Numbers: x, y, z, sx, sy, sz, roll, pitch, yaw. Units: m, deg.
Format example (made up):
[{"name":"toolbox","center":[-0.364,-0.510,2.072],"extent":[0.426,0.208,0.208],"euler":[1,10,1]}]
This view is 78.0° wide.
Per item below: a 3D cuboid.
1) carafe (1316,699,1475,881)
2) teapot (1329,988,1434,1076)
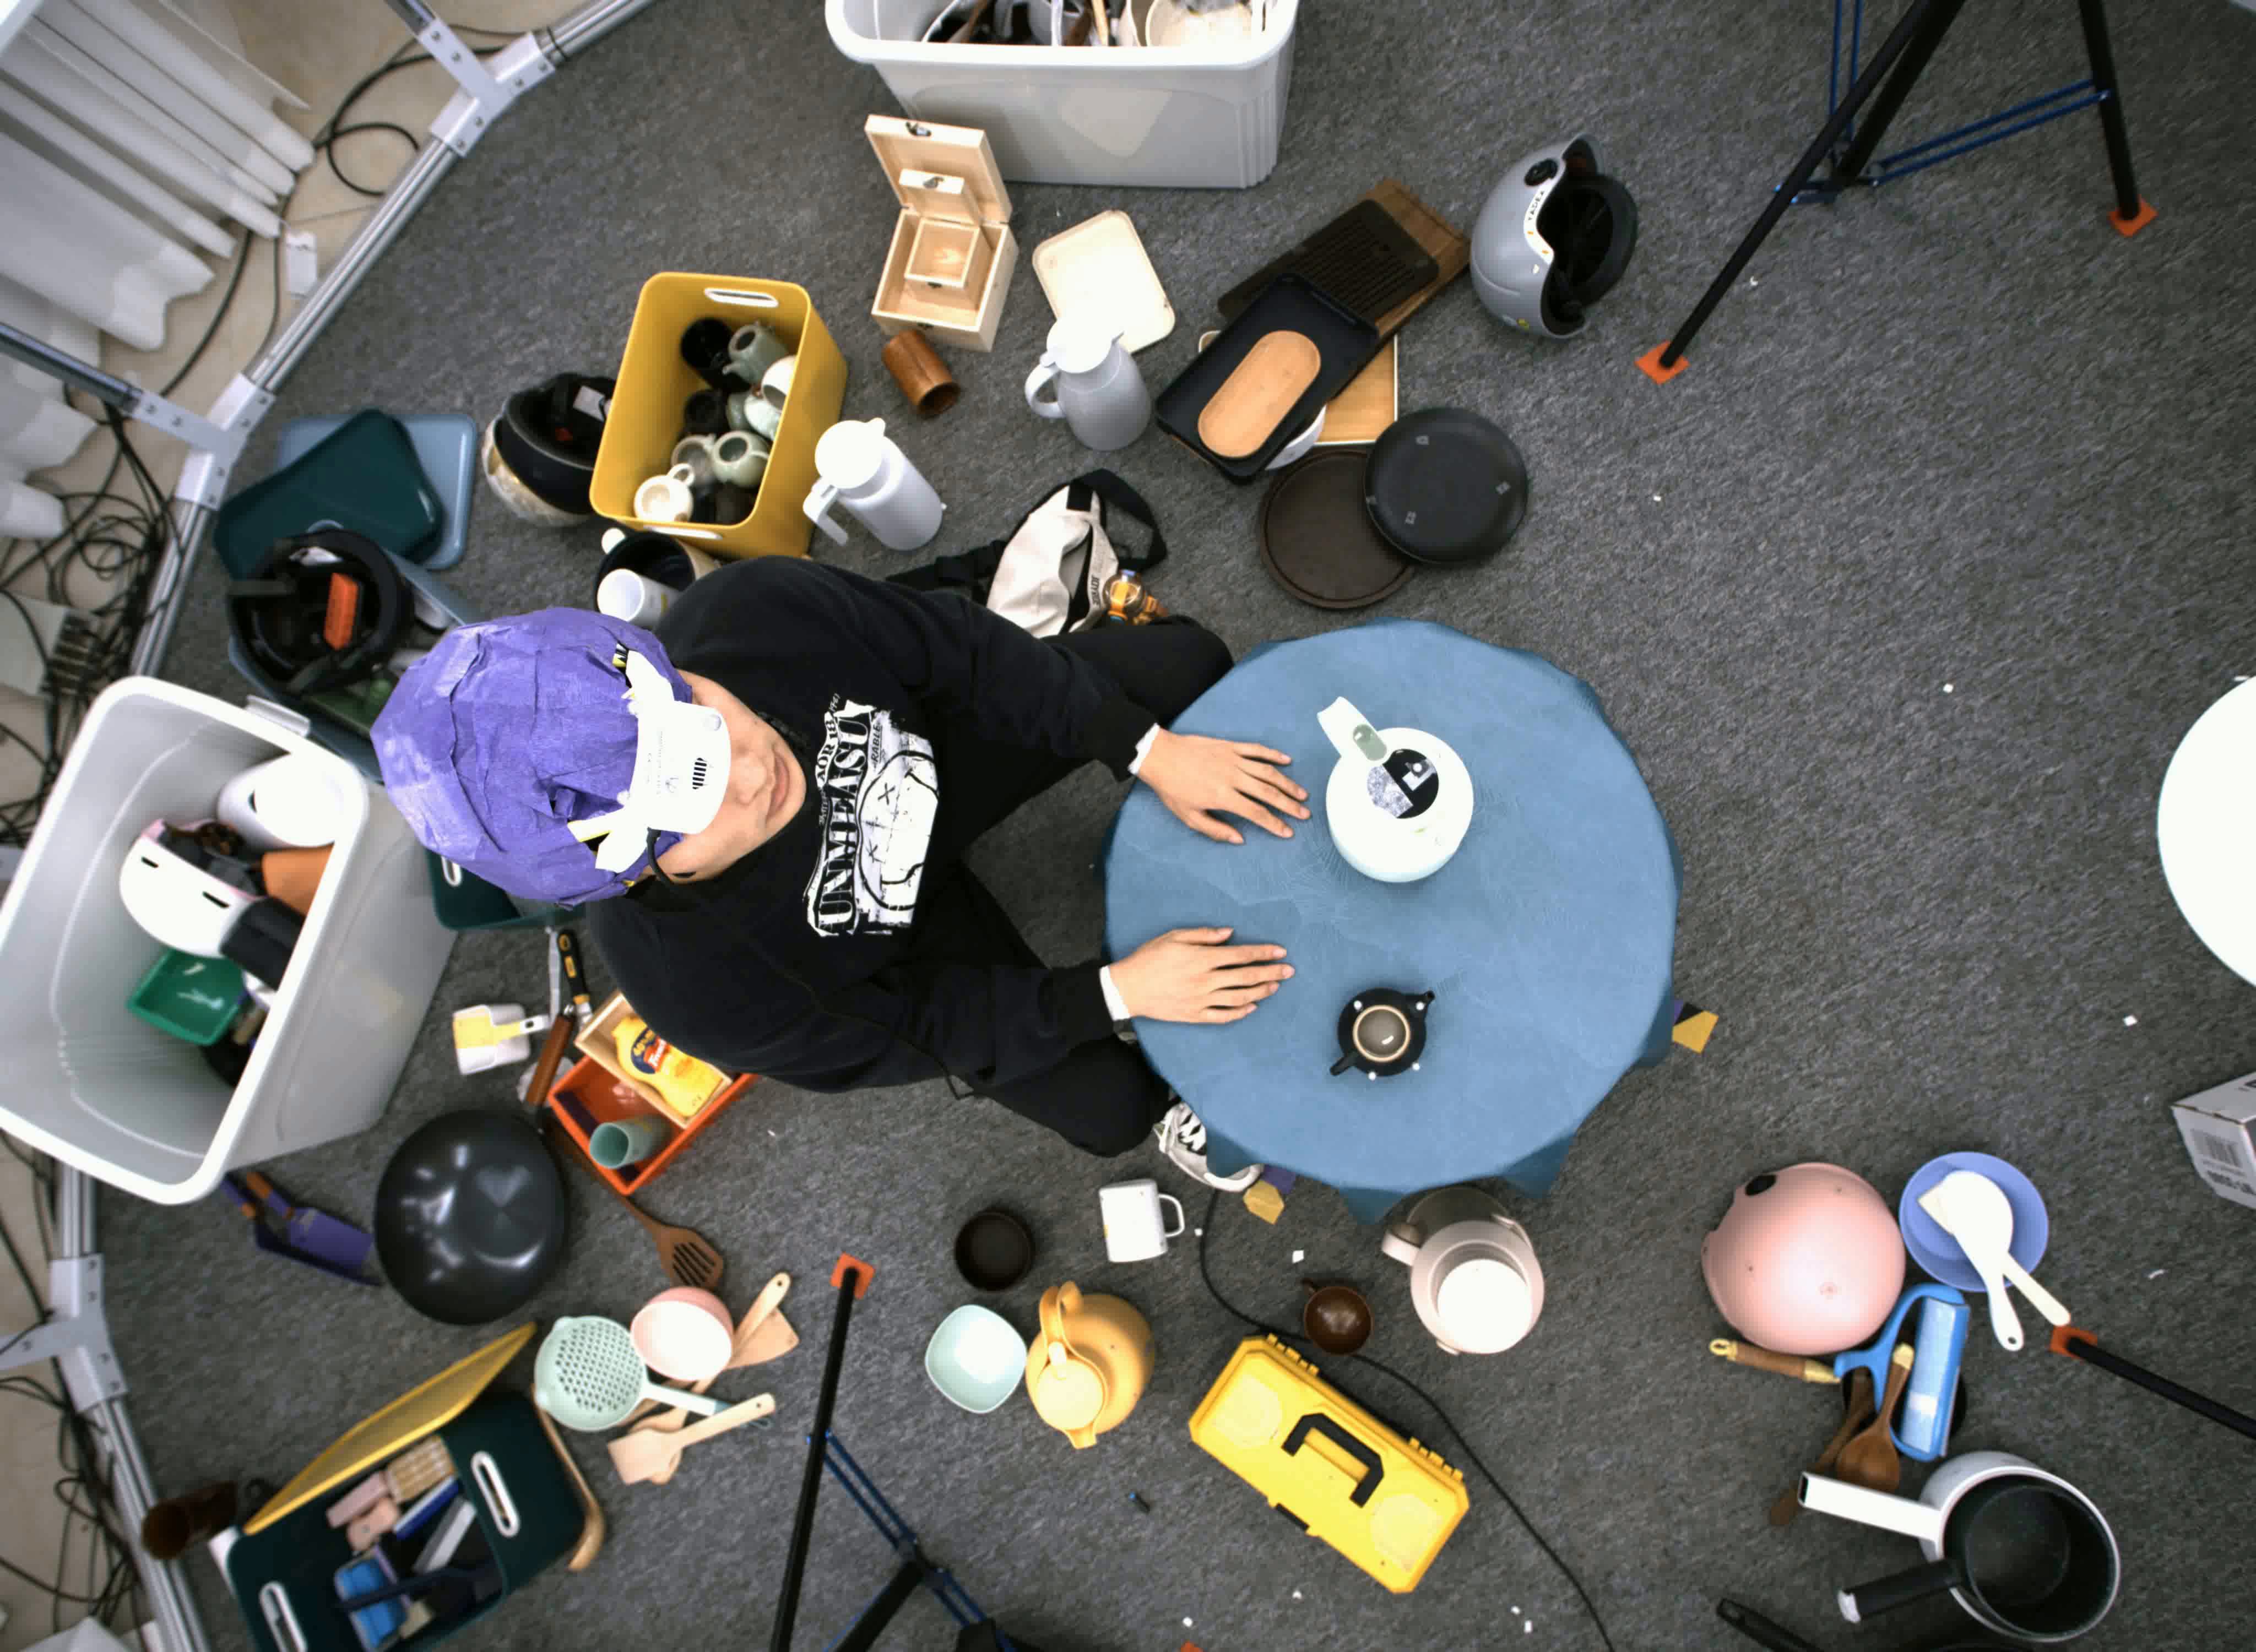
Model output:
[{"name":"carafe","center":[0.256,-0.037,1.342],"extent":[0.145,0.257,0.185],"euler":[-39,76,6]},{"name":"teapot","center":[0.261,0.212,1.429],"extent":[0.134,0.053,0.090],"euler":[-40,78,6]}]
